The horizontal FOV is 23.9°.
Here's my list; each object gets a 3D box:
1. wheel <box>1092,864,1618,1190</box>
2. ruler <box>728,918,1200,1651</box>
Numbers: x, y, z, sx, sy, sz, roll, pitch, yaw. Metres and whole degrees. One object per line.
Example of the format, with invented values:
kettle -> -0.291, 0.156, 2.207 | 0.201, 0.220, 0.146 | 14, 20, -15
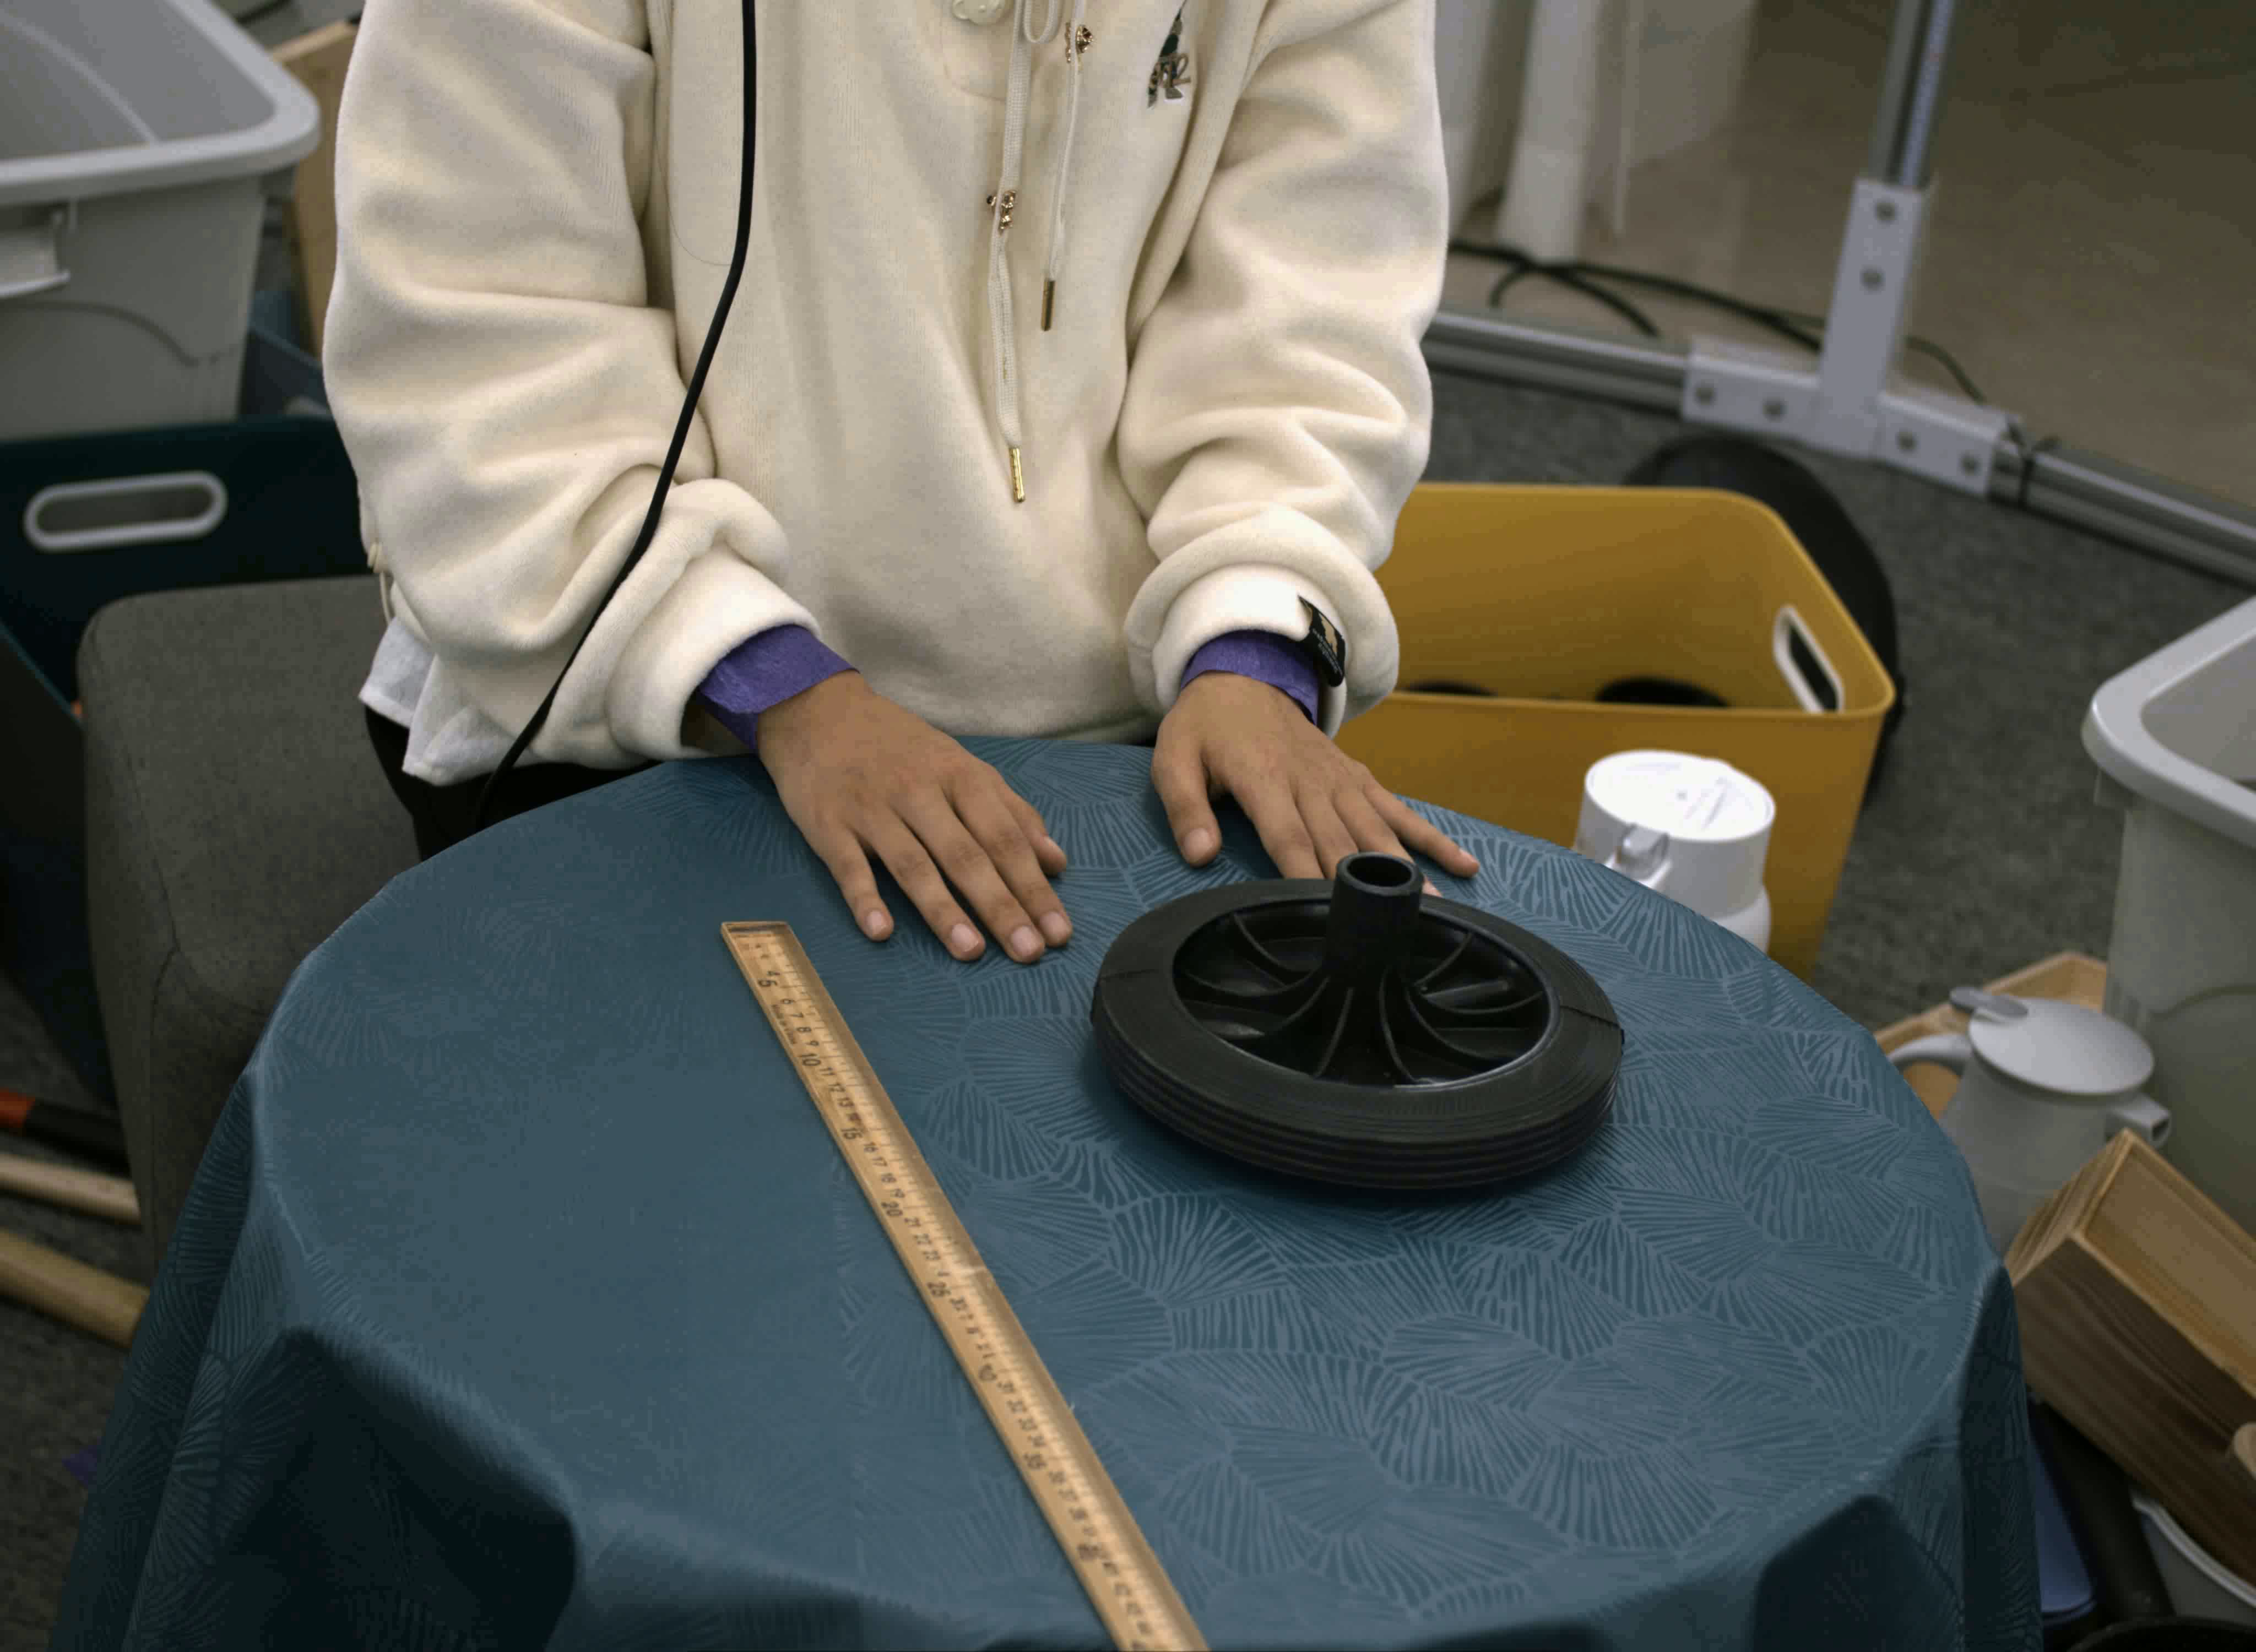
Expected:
wheel -> 0.083, 0.055, 1.872 | 0.188, 0.079, 0.189 | 23, 30, 30
ruler -> -0.056, 0.151, 1.730 | 0.026, 0.006, 0.505 | -5, 29, -18
